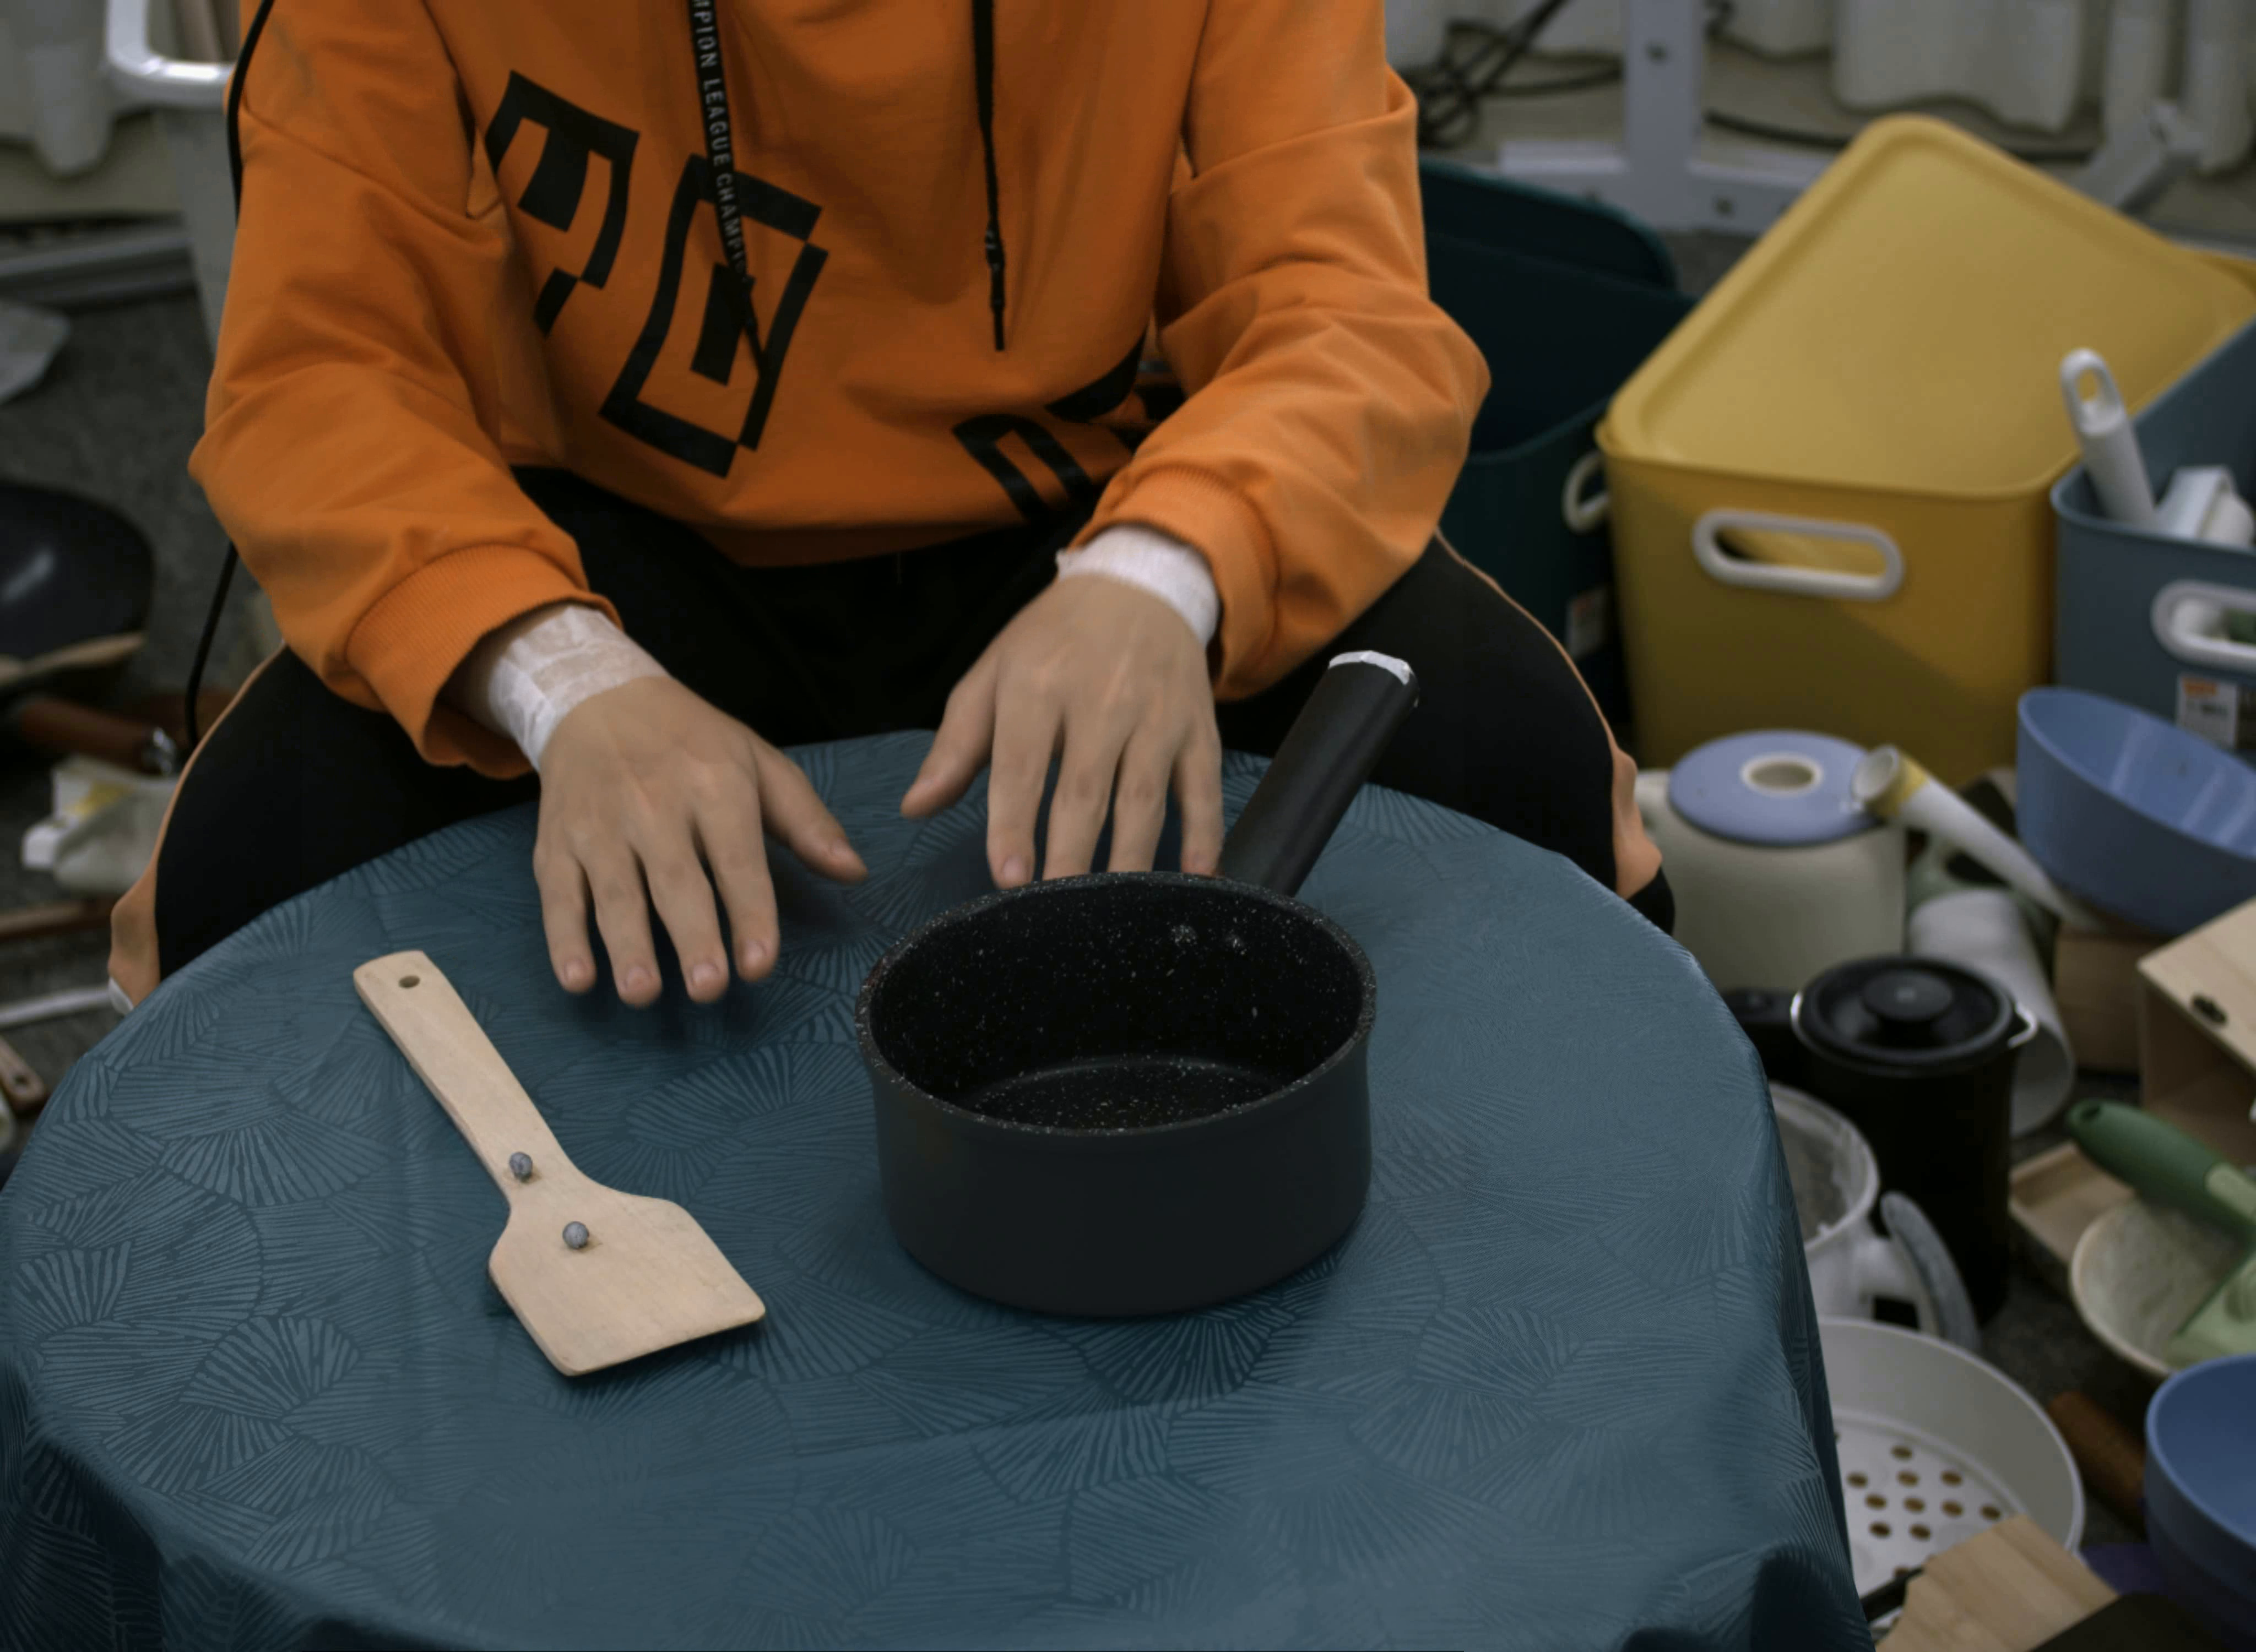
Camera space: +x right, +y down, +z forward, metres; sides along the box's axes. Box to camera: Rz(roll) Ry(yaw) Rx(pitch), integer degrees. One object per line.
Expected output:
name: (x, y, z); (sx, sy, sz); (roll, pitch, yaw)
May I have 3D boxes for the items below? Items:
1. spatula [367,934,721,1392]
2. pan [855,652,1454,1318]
spatula: (-0.213, 0.109, 1.905); (0.072, 0.010, 0.295); (-15, 31, -15)
pan: (0.032, 0.050, 1.907); (0.171, 0.085, 0.334); (11, 32, 23)
